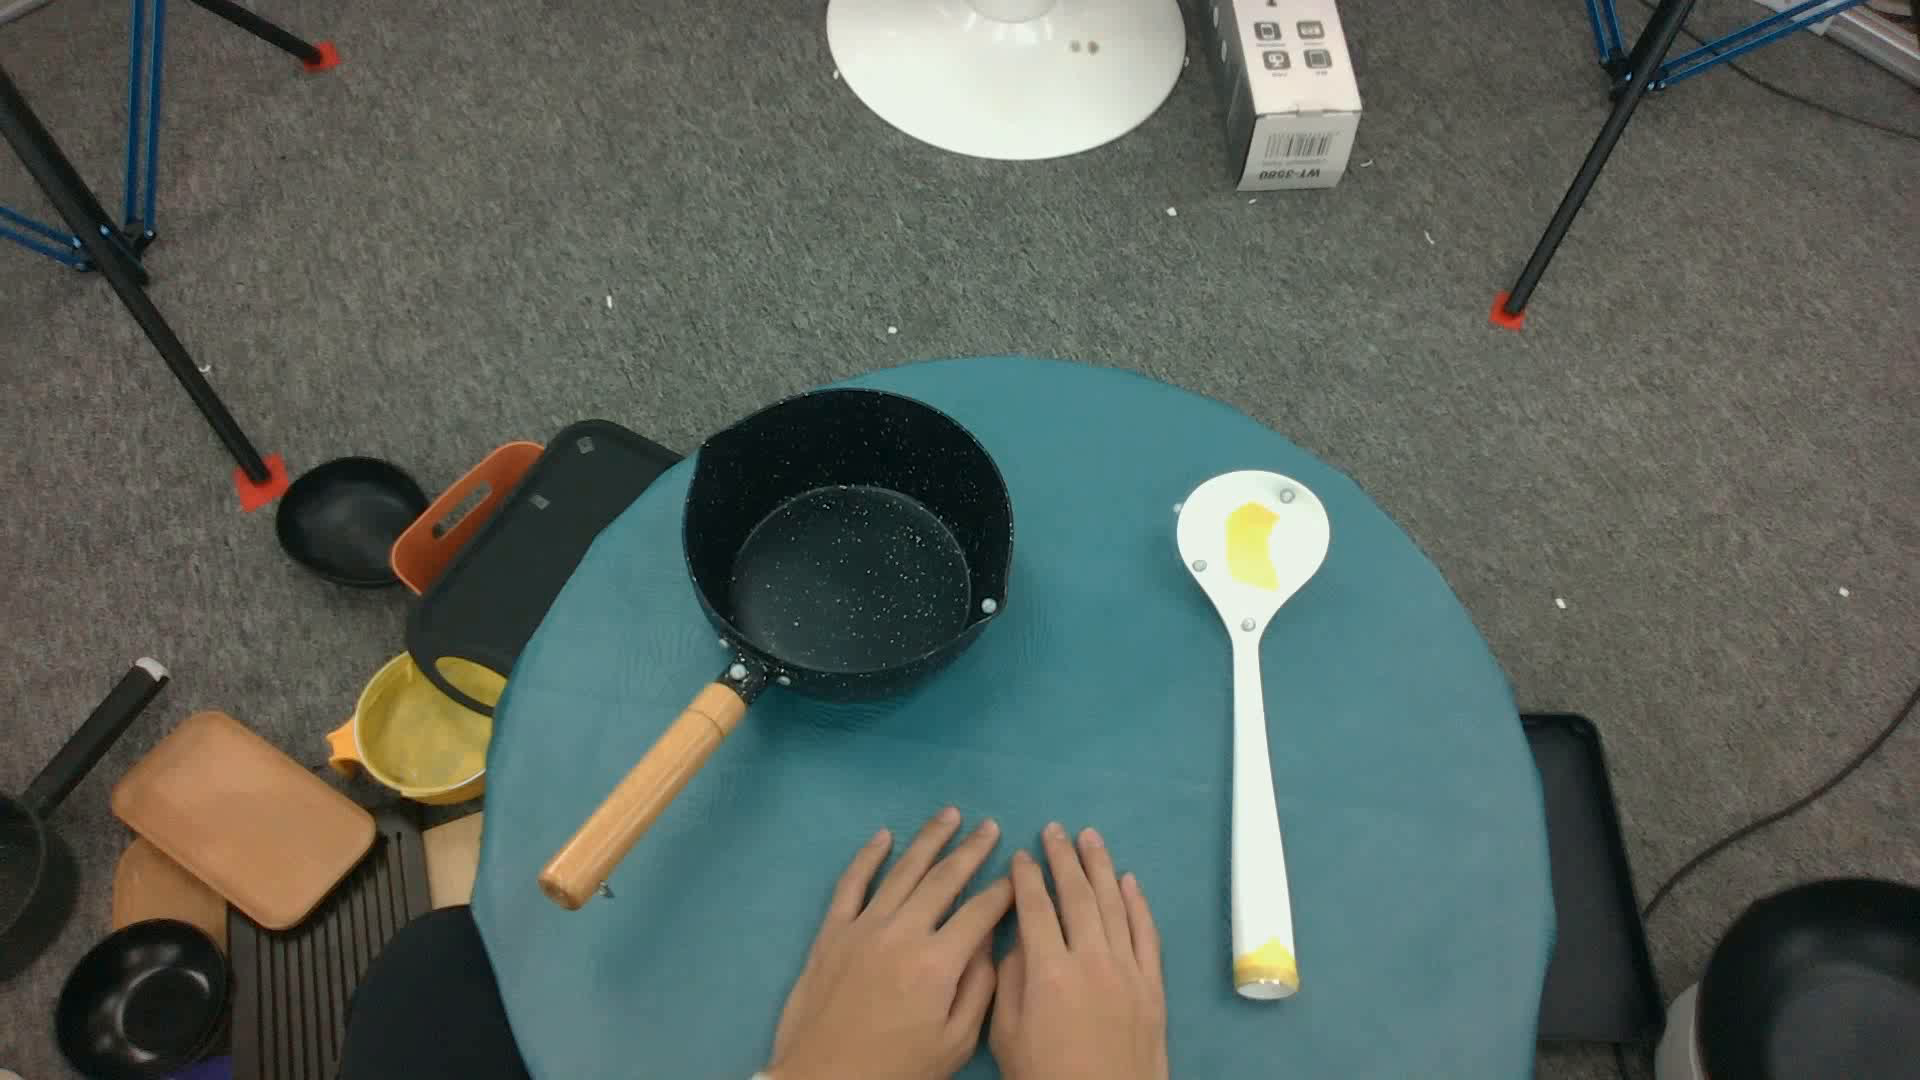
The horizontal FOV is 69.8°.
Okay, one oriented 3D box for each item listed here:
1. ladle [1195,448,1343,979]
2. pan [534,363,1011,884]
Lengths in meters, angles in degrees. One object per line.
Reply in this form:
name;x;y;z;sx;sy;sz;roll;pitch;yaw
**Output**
ladle;0.173;0.090;0.774;0.090;0.069;0.294;8;61;-4
pan;-0.104;0.052;0.751;0.207;0.108;0.344;28;61;10
